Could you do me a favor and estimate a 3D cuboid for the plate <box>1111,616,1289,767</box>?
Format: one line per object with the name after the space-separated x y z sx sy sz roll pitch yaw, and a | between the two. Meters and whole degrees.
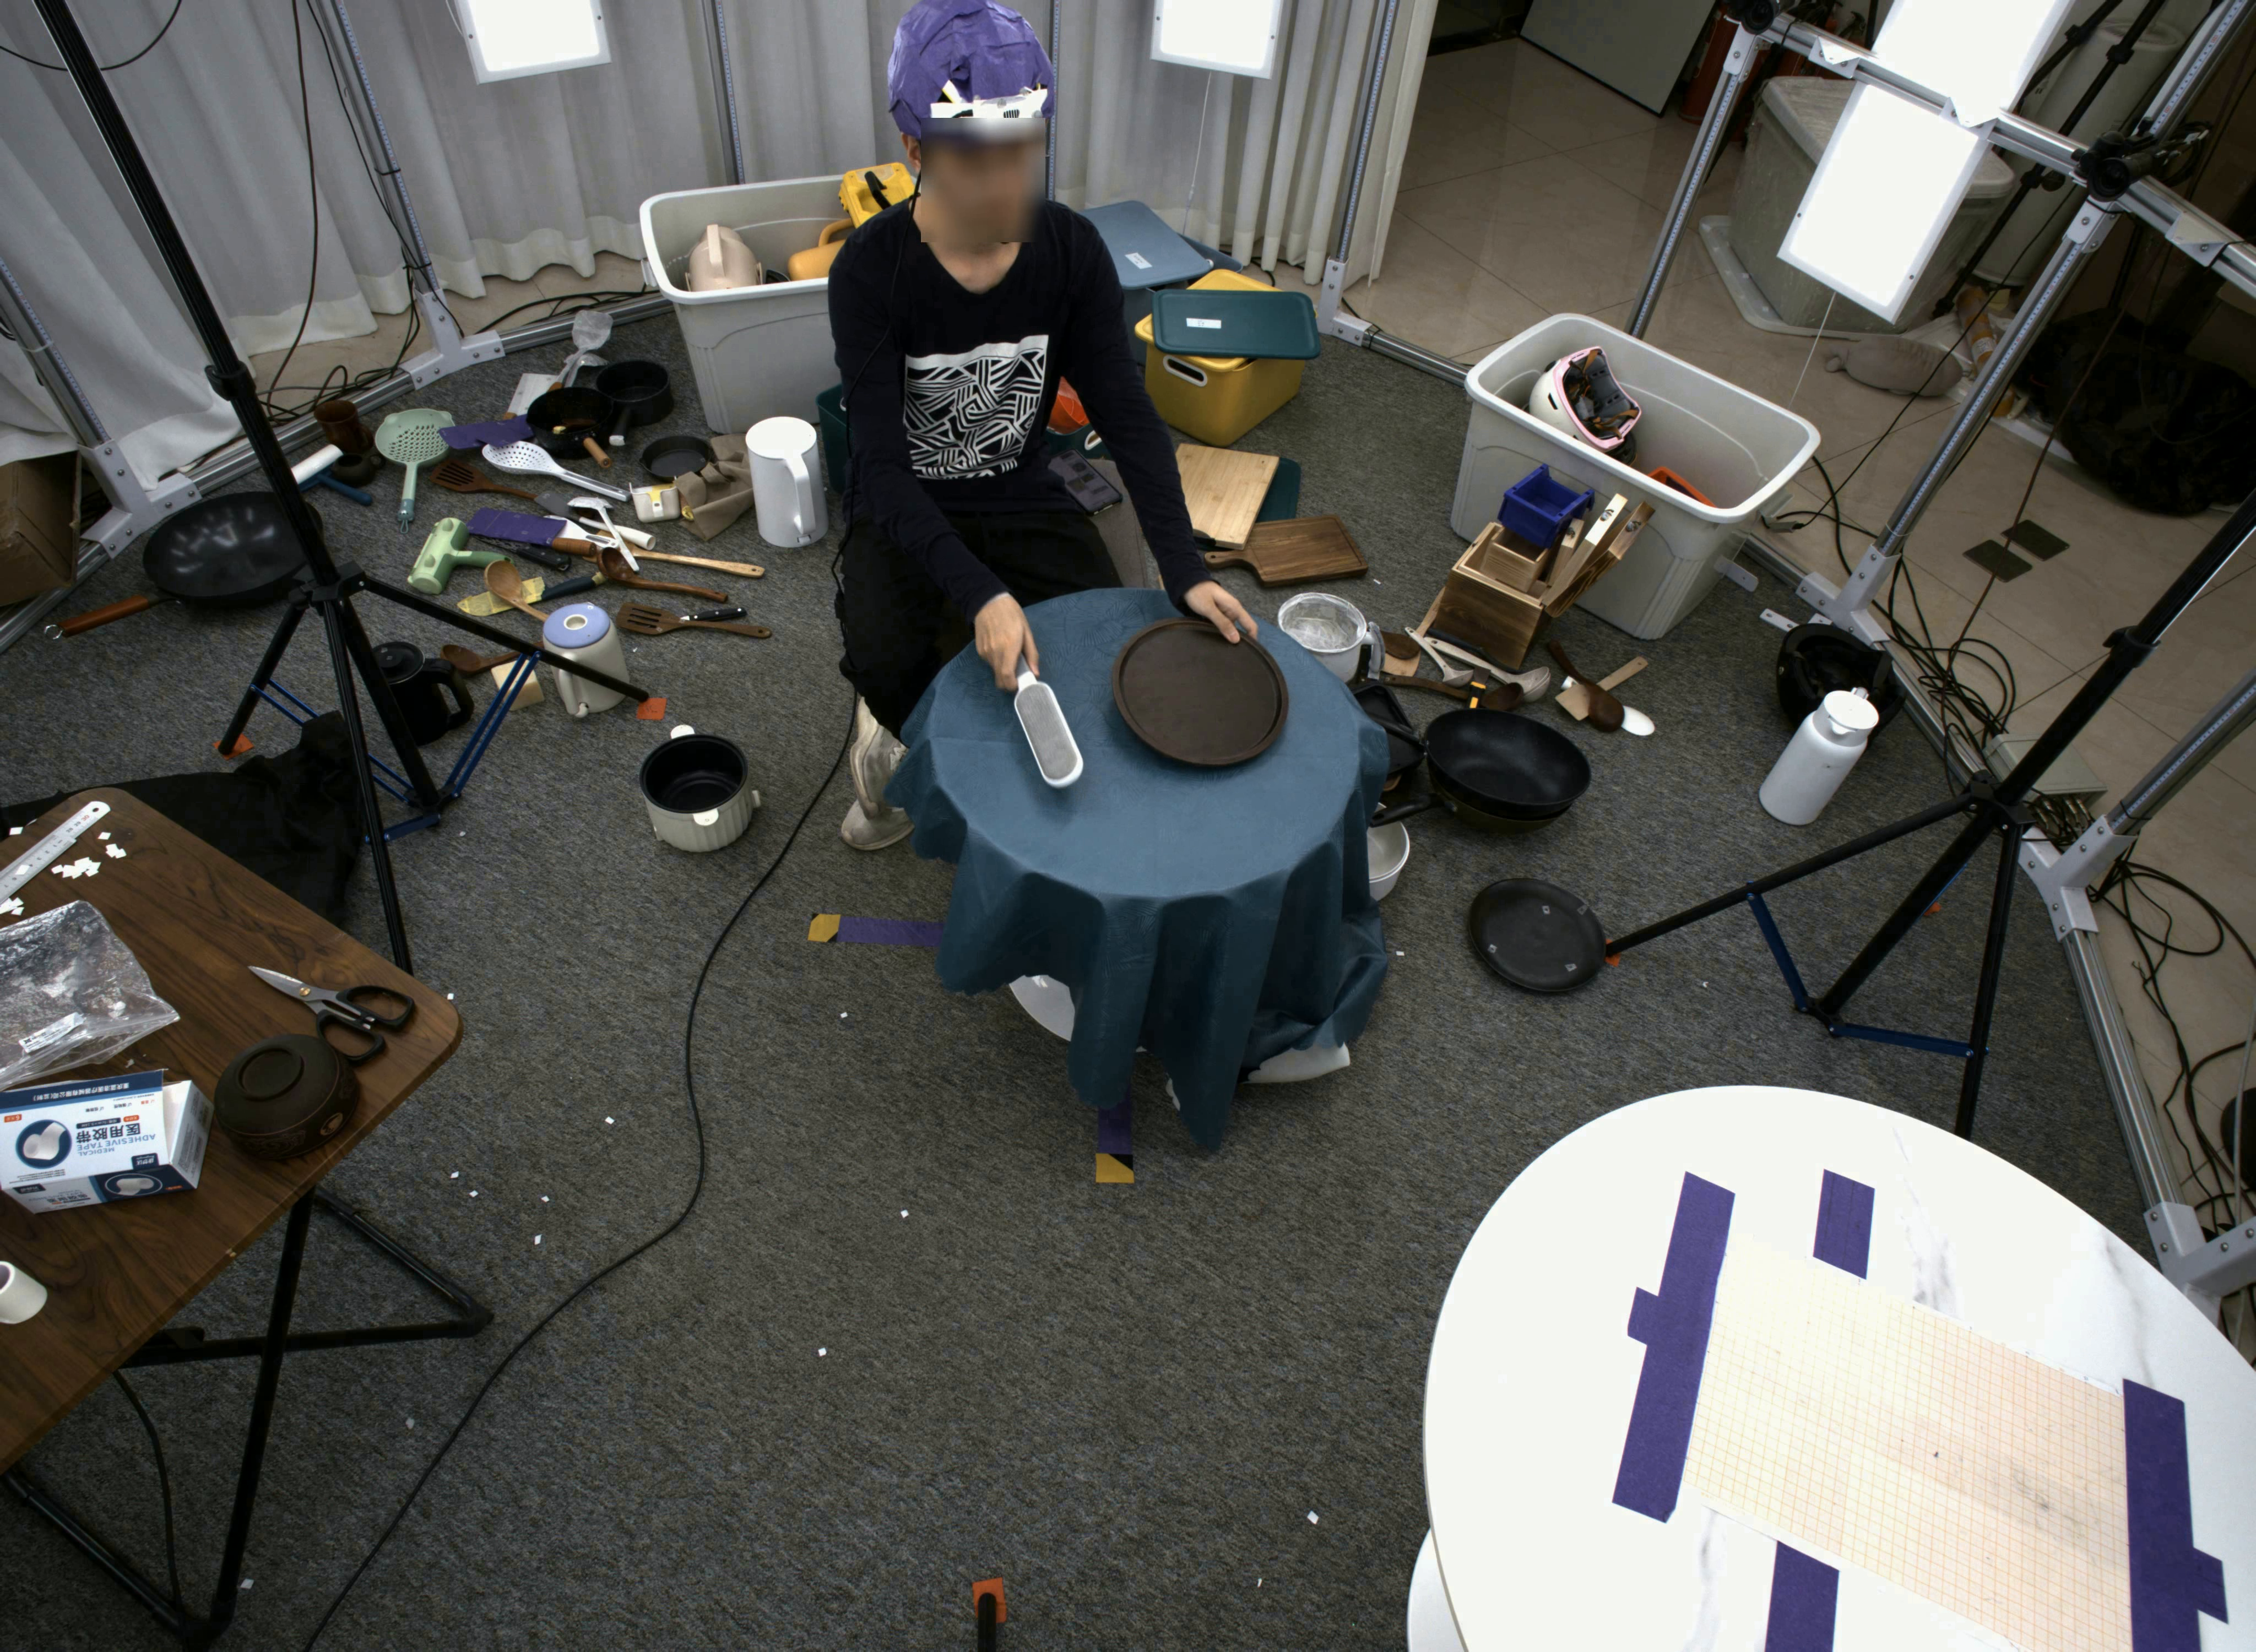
0.100 -0.189 1.795 0.254 0.028 0.260 5 57 -9 | plate

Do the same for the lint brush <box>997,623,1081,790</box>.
-0.127 -0.170 1.749 0.060 0.020 0.316 -32 53 12 | lint brush
